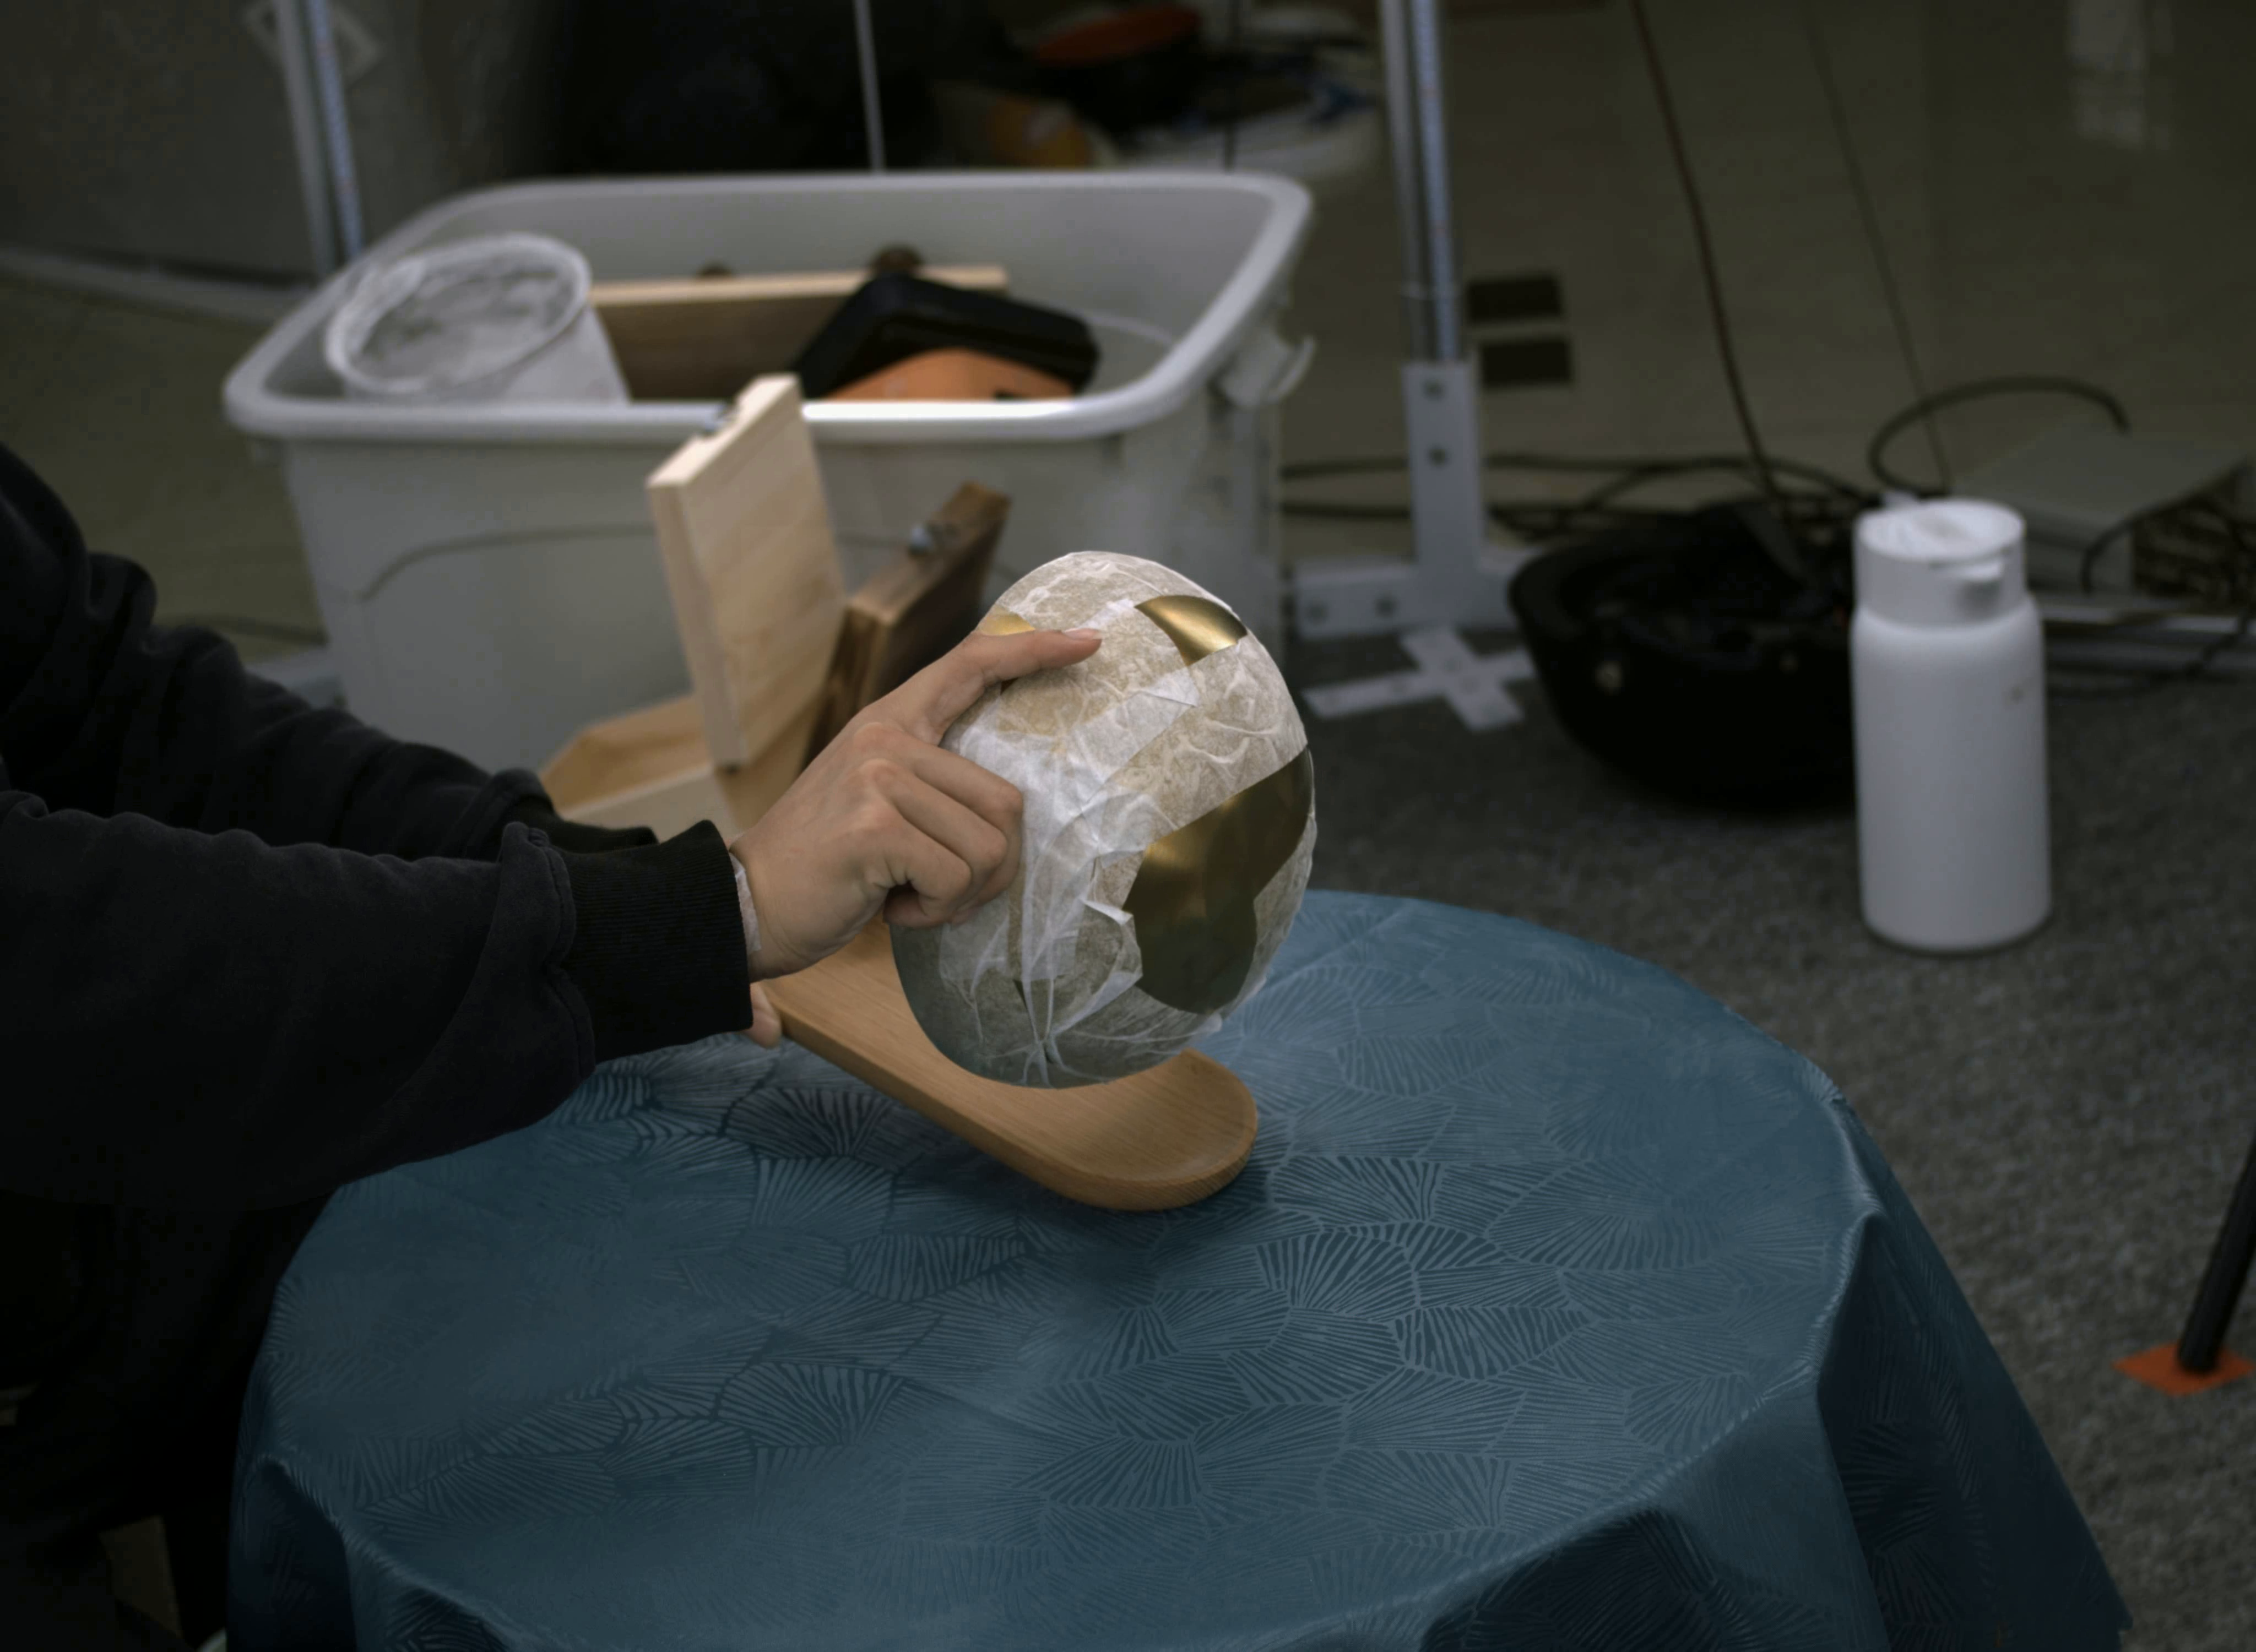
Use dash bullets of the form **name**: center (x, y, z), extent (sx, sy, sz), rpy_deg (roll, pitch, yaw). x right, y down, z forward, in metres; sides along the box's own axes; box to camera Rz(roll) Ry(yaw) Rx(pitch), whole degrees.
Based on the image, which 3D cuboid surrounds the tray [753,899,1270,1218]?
- **tray**: center (-0.047, 0.089, 2.195), extent (0.229, 0.021, 0.100), rpy_deg (29, 41, 28)

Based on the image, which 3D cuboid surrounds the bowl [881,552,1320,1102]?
- **bowl**: center (0.009, 0.010, 2.084), extent (0.094, 0.218, 0.212), rpy_deg (16, 33, 33)
